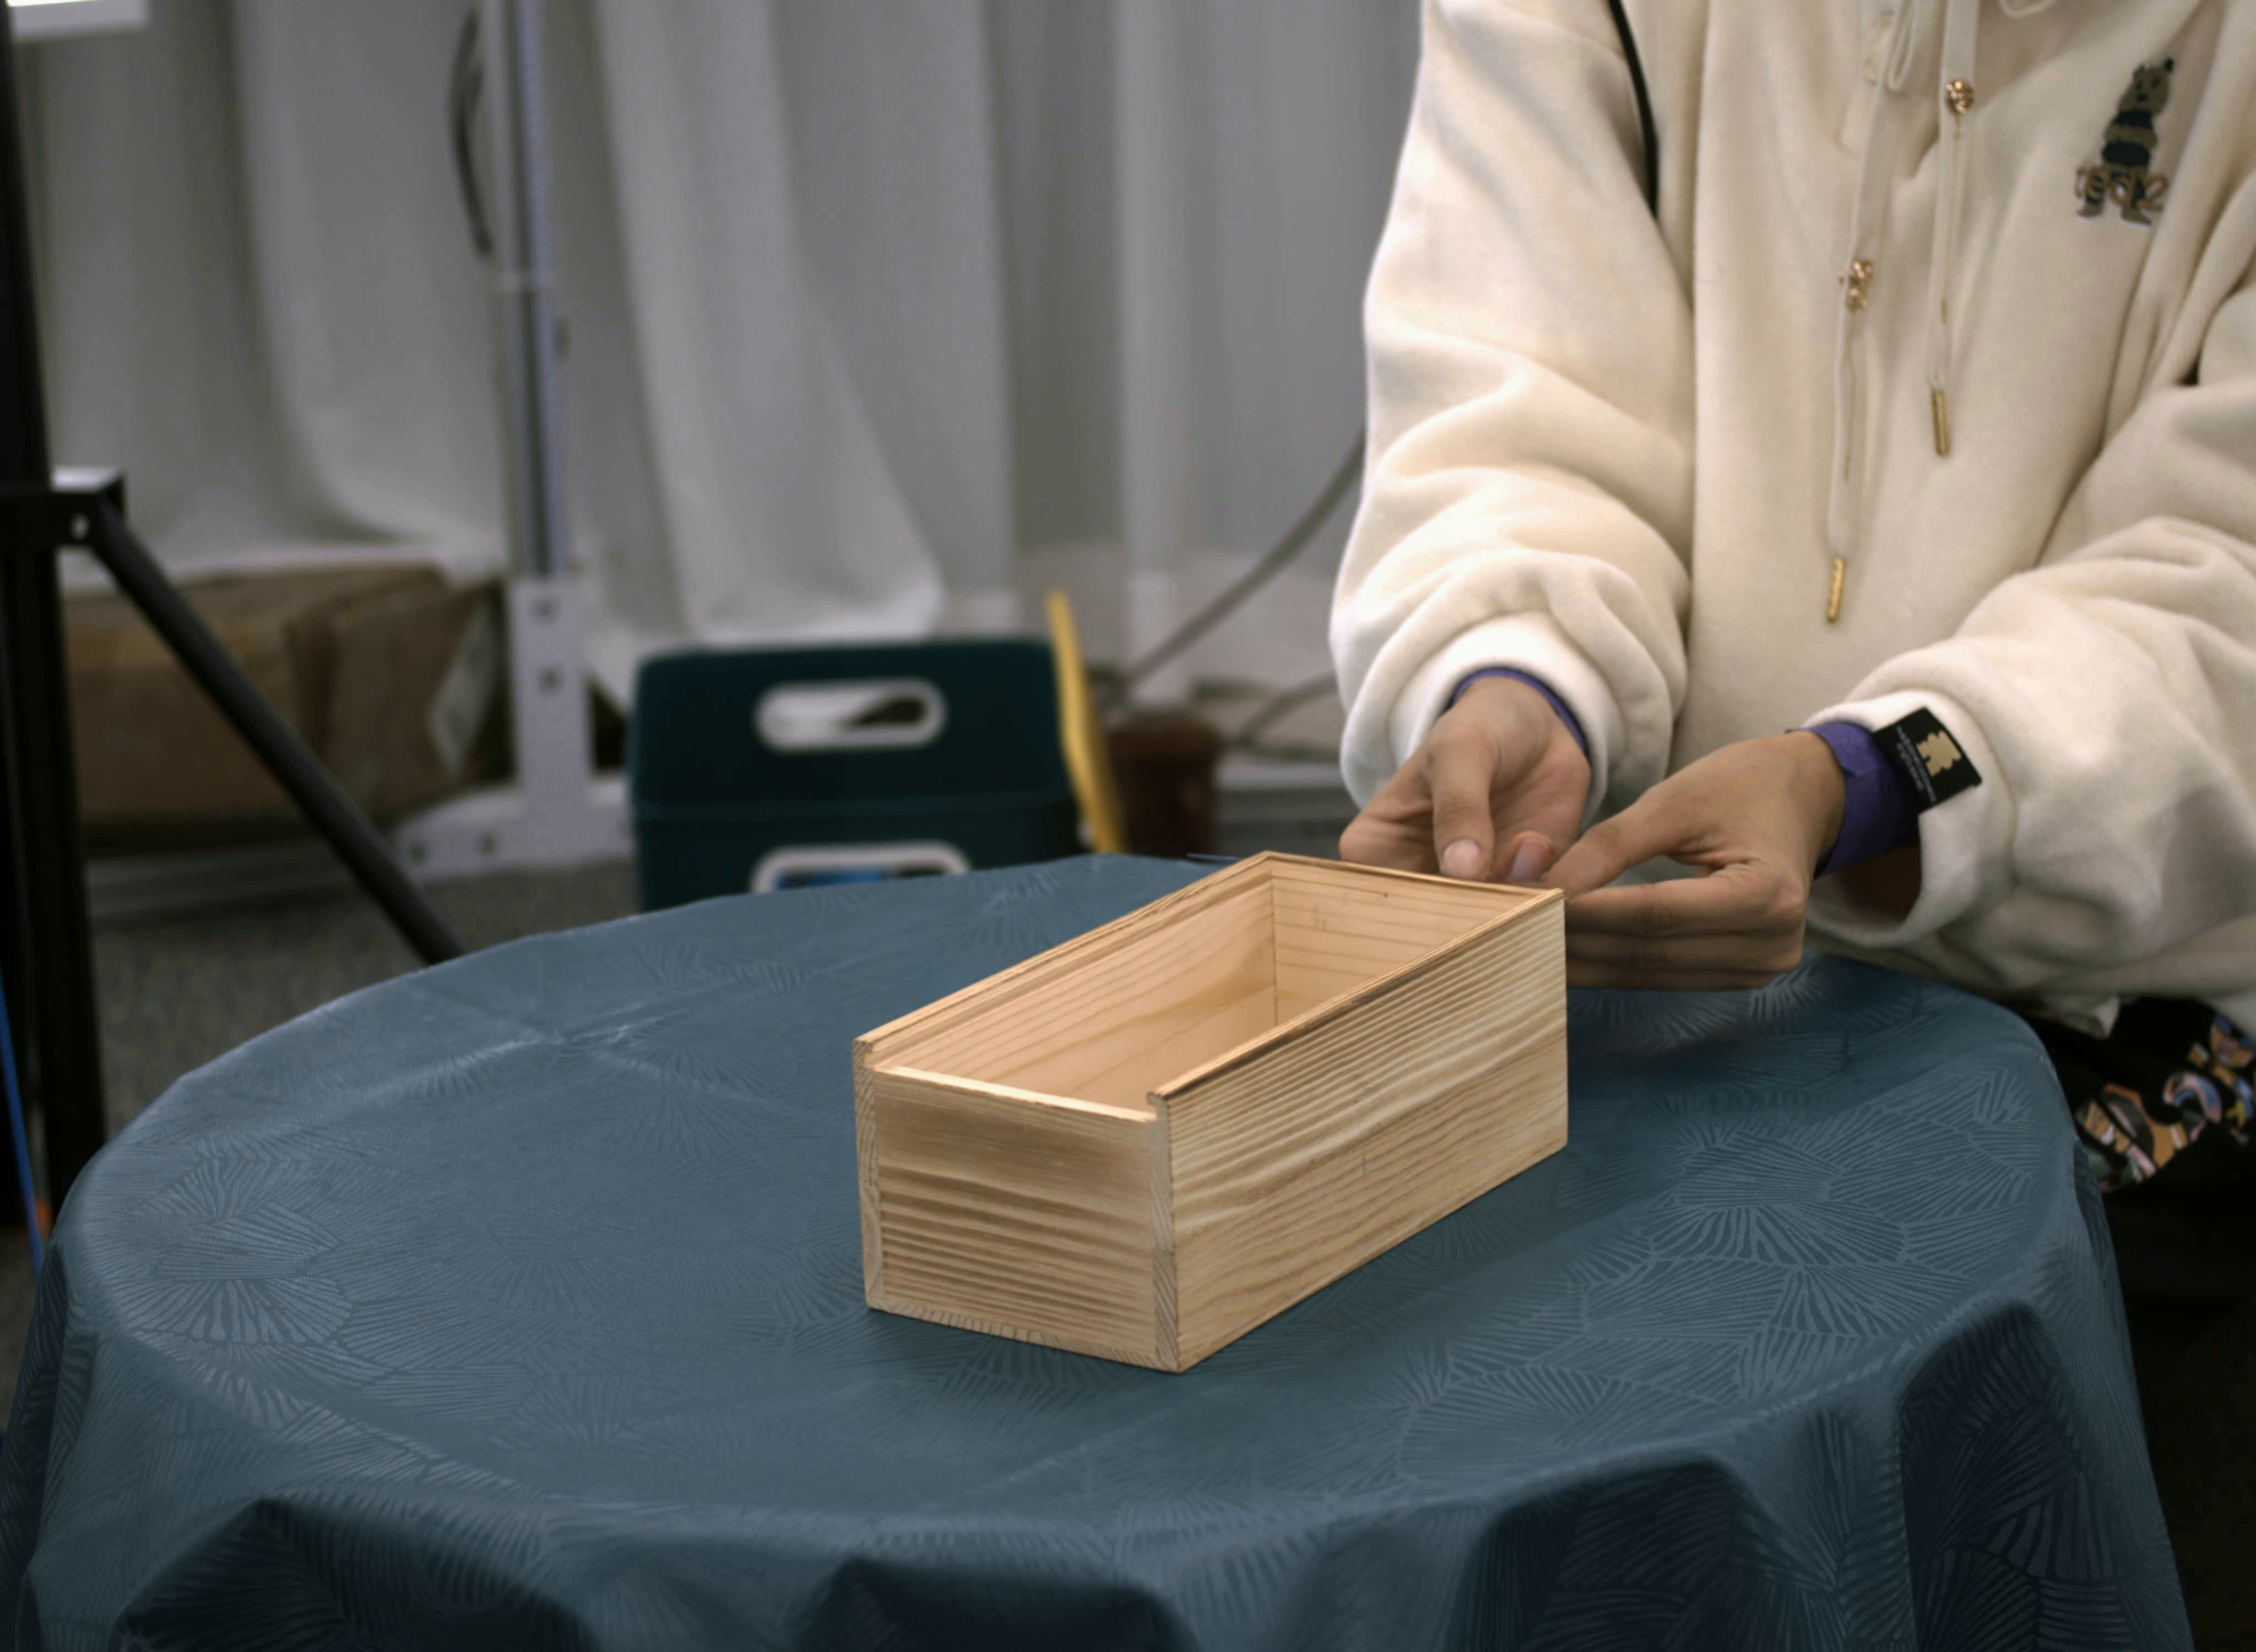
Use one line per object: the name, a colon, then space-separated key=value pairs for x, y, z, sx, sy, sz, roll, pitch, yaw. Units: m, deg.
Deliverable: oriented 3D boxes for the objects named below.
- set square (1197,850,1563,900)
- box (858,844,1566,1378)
set square: x=0.087 y=0.015 z=1.630 sx=0.135 sy=0.006 sz=0.059 roll=8 pitch=7 yaw=40
box: x=0.028 y=0.077 z=1.516 sx=0.109 sy=0.080 sz=0.207 roll=9 pitch=20 yaw=33
